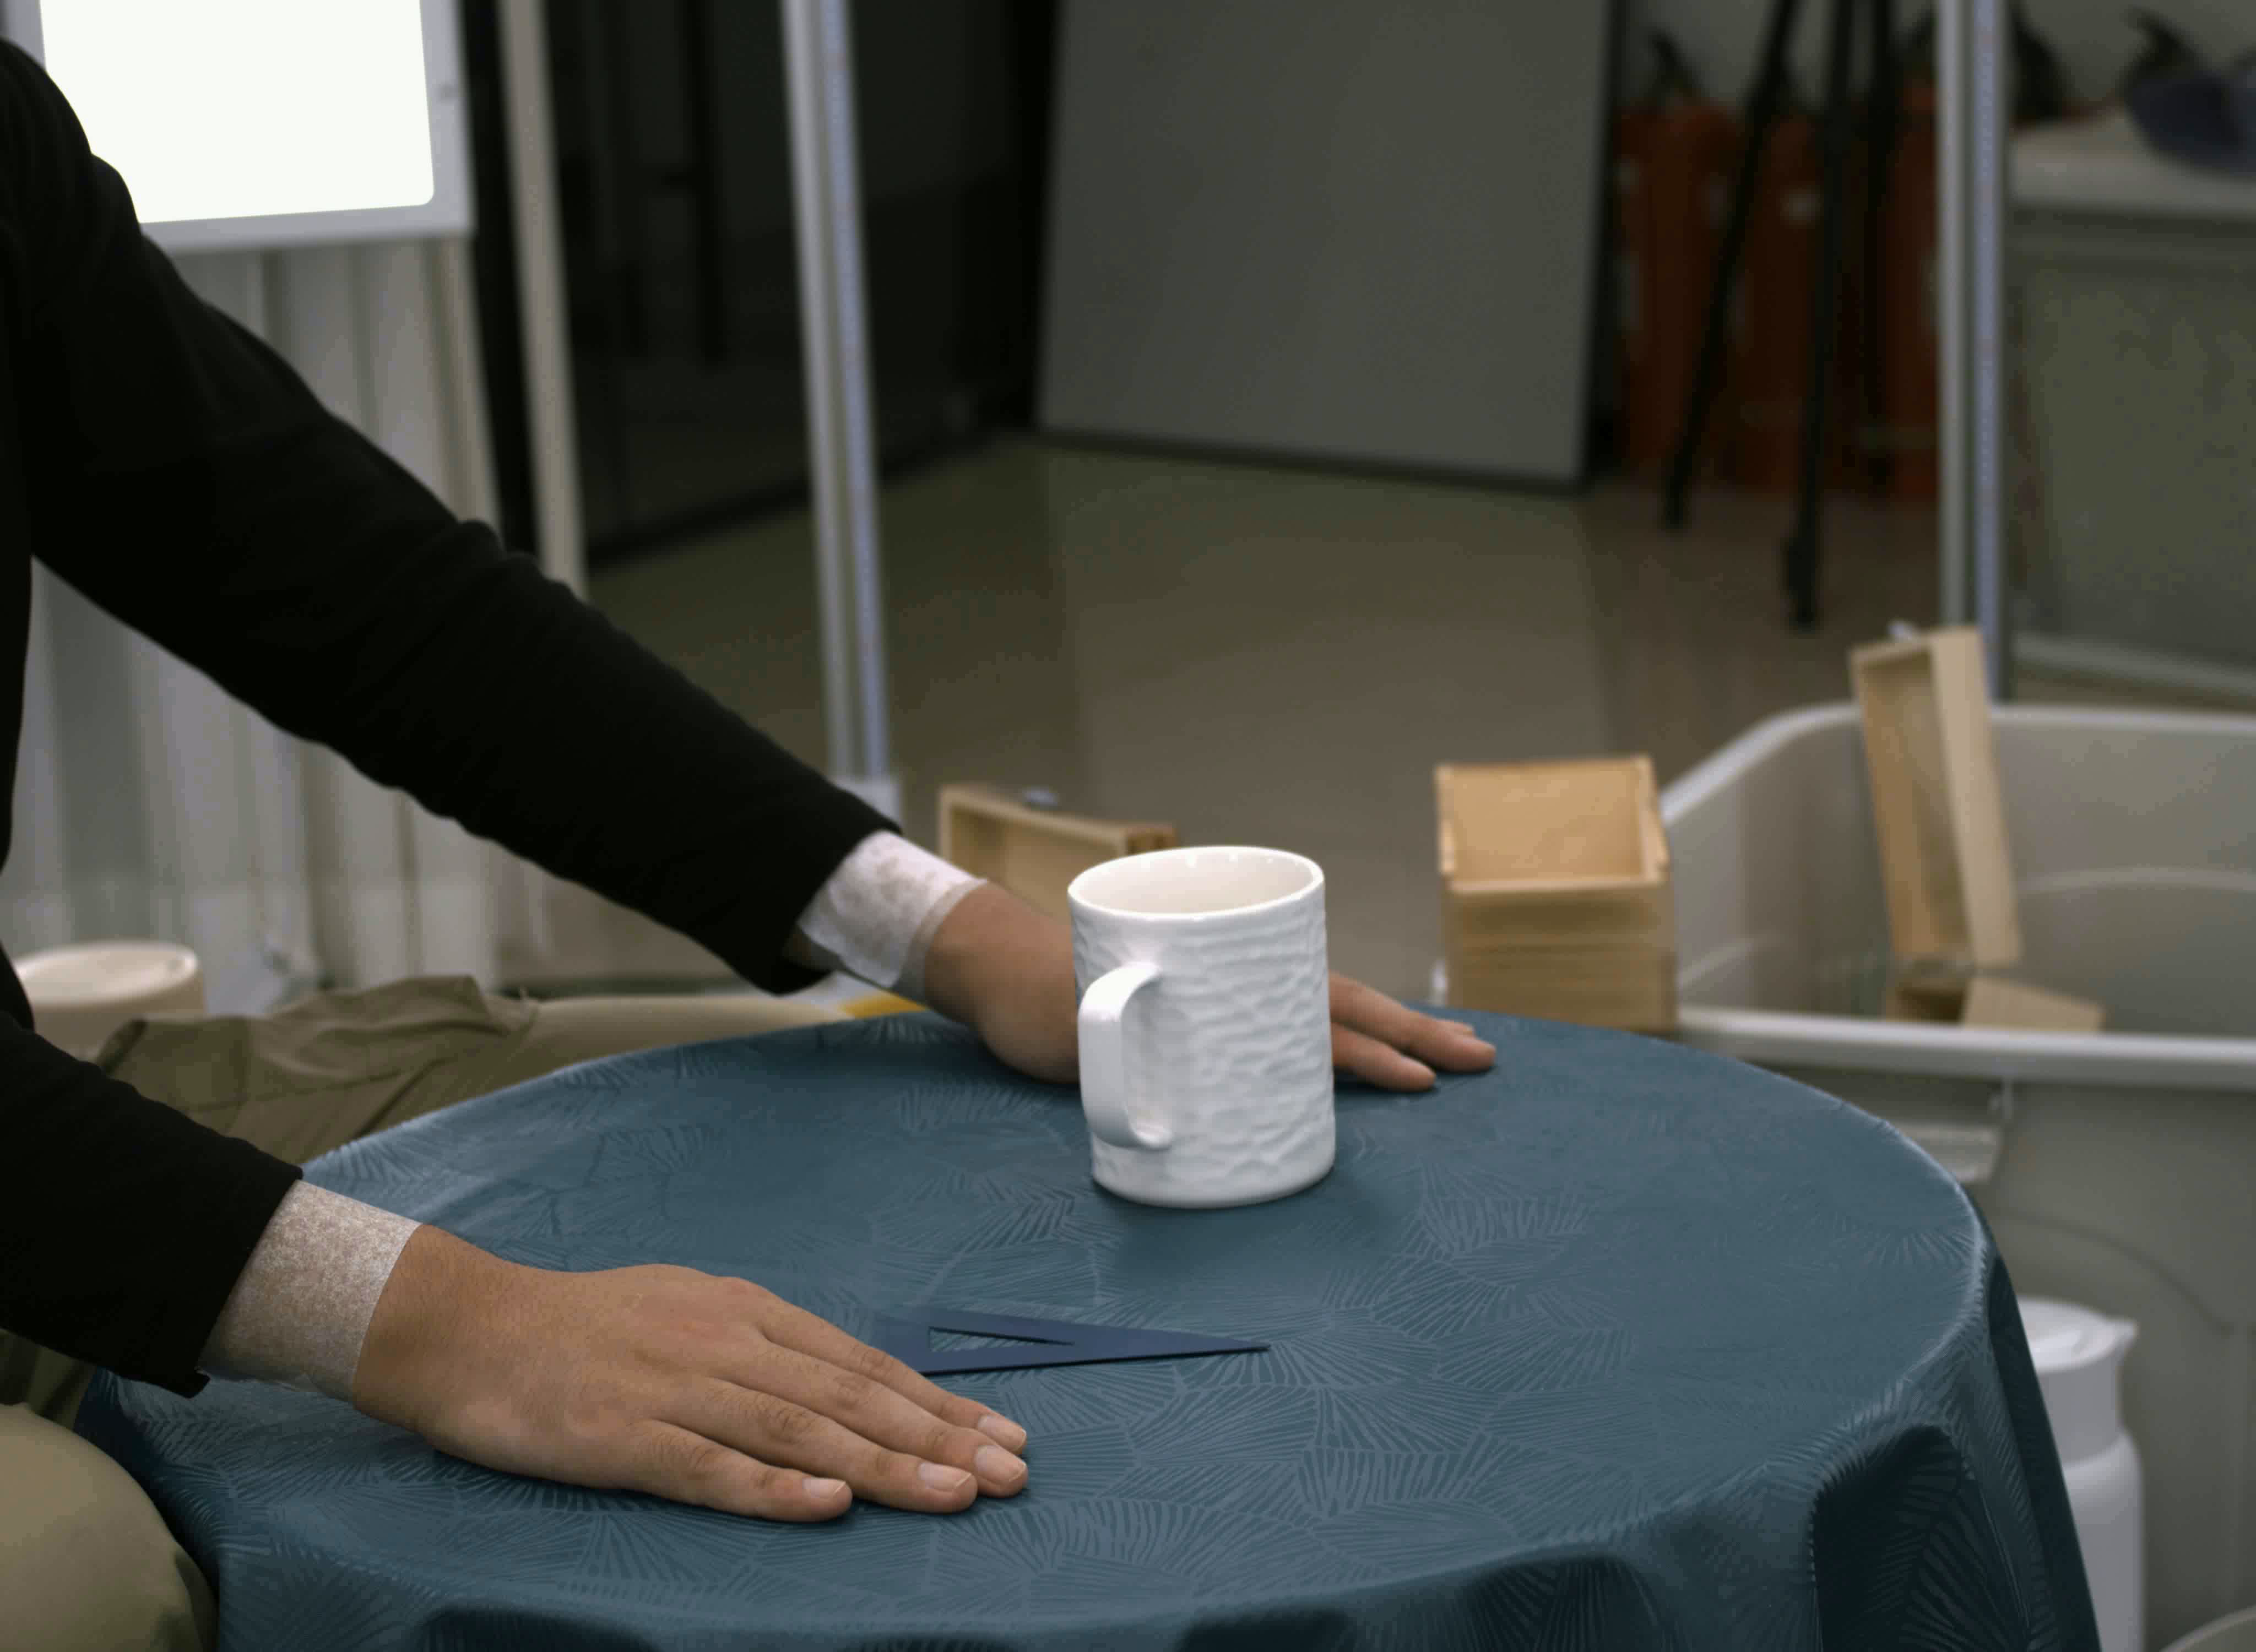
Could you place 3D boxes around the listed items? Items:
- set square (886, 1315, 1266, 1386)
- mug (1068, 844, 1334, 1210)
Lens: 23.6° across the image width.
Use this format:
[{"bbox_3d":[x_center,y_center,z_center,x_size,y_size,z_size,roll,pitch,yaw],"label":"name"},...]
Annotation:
[{"bbox_3d":[-0.026,0.160,1.609,0.132,0.006,0.060,5,15,32],"label":"set square"},{"bbox_3d":[0.018,0.069,1.758,0.085,0.103,0.116,4,15,28],"label":"mug"}]
